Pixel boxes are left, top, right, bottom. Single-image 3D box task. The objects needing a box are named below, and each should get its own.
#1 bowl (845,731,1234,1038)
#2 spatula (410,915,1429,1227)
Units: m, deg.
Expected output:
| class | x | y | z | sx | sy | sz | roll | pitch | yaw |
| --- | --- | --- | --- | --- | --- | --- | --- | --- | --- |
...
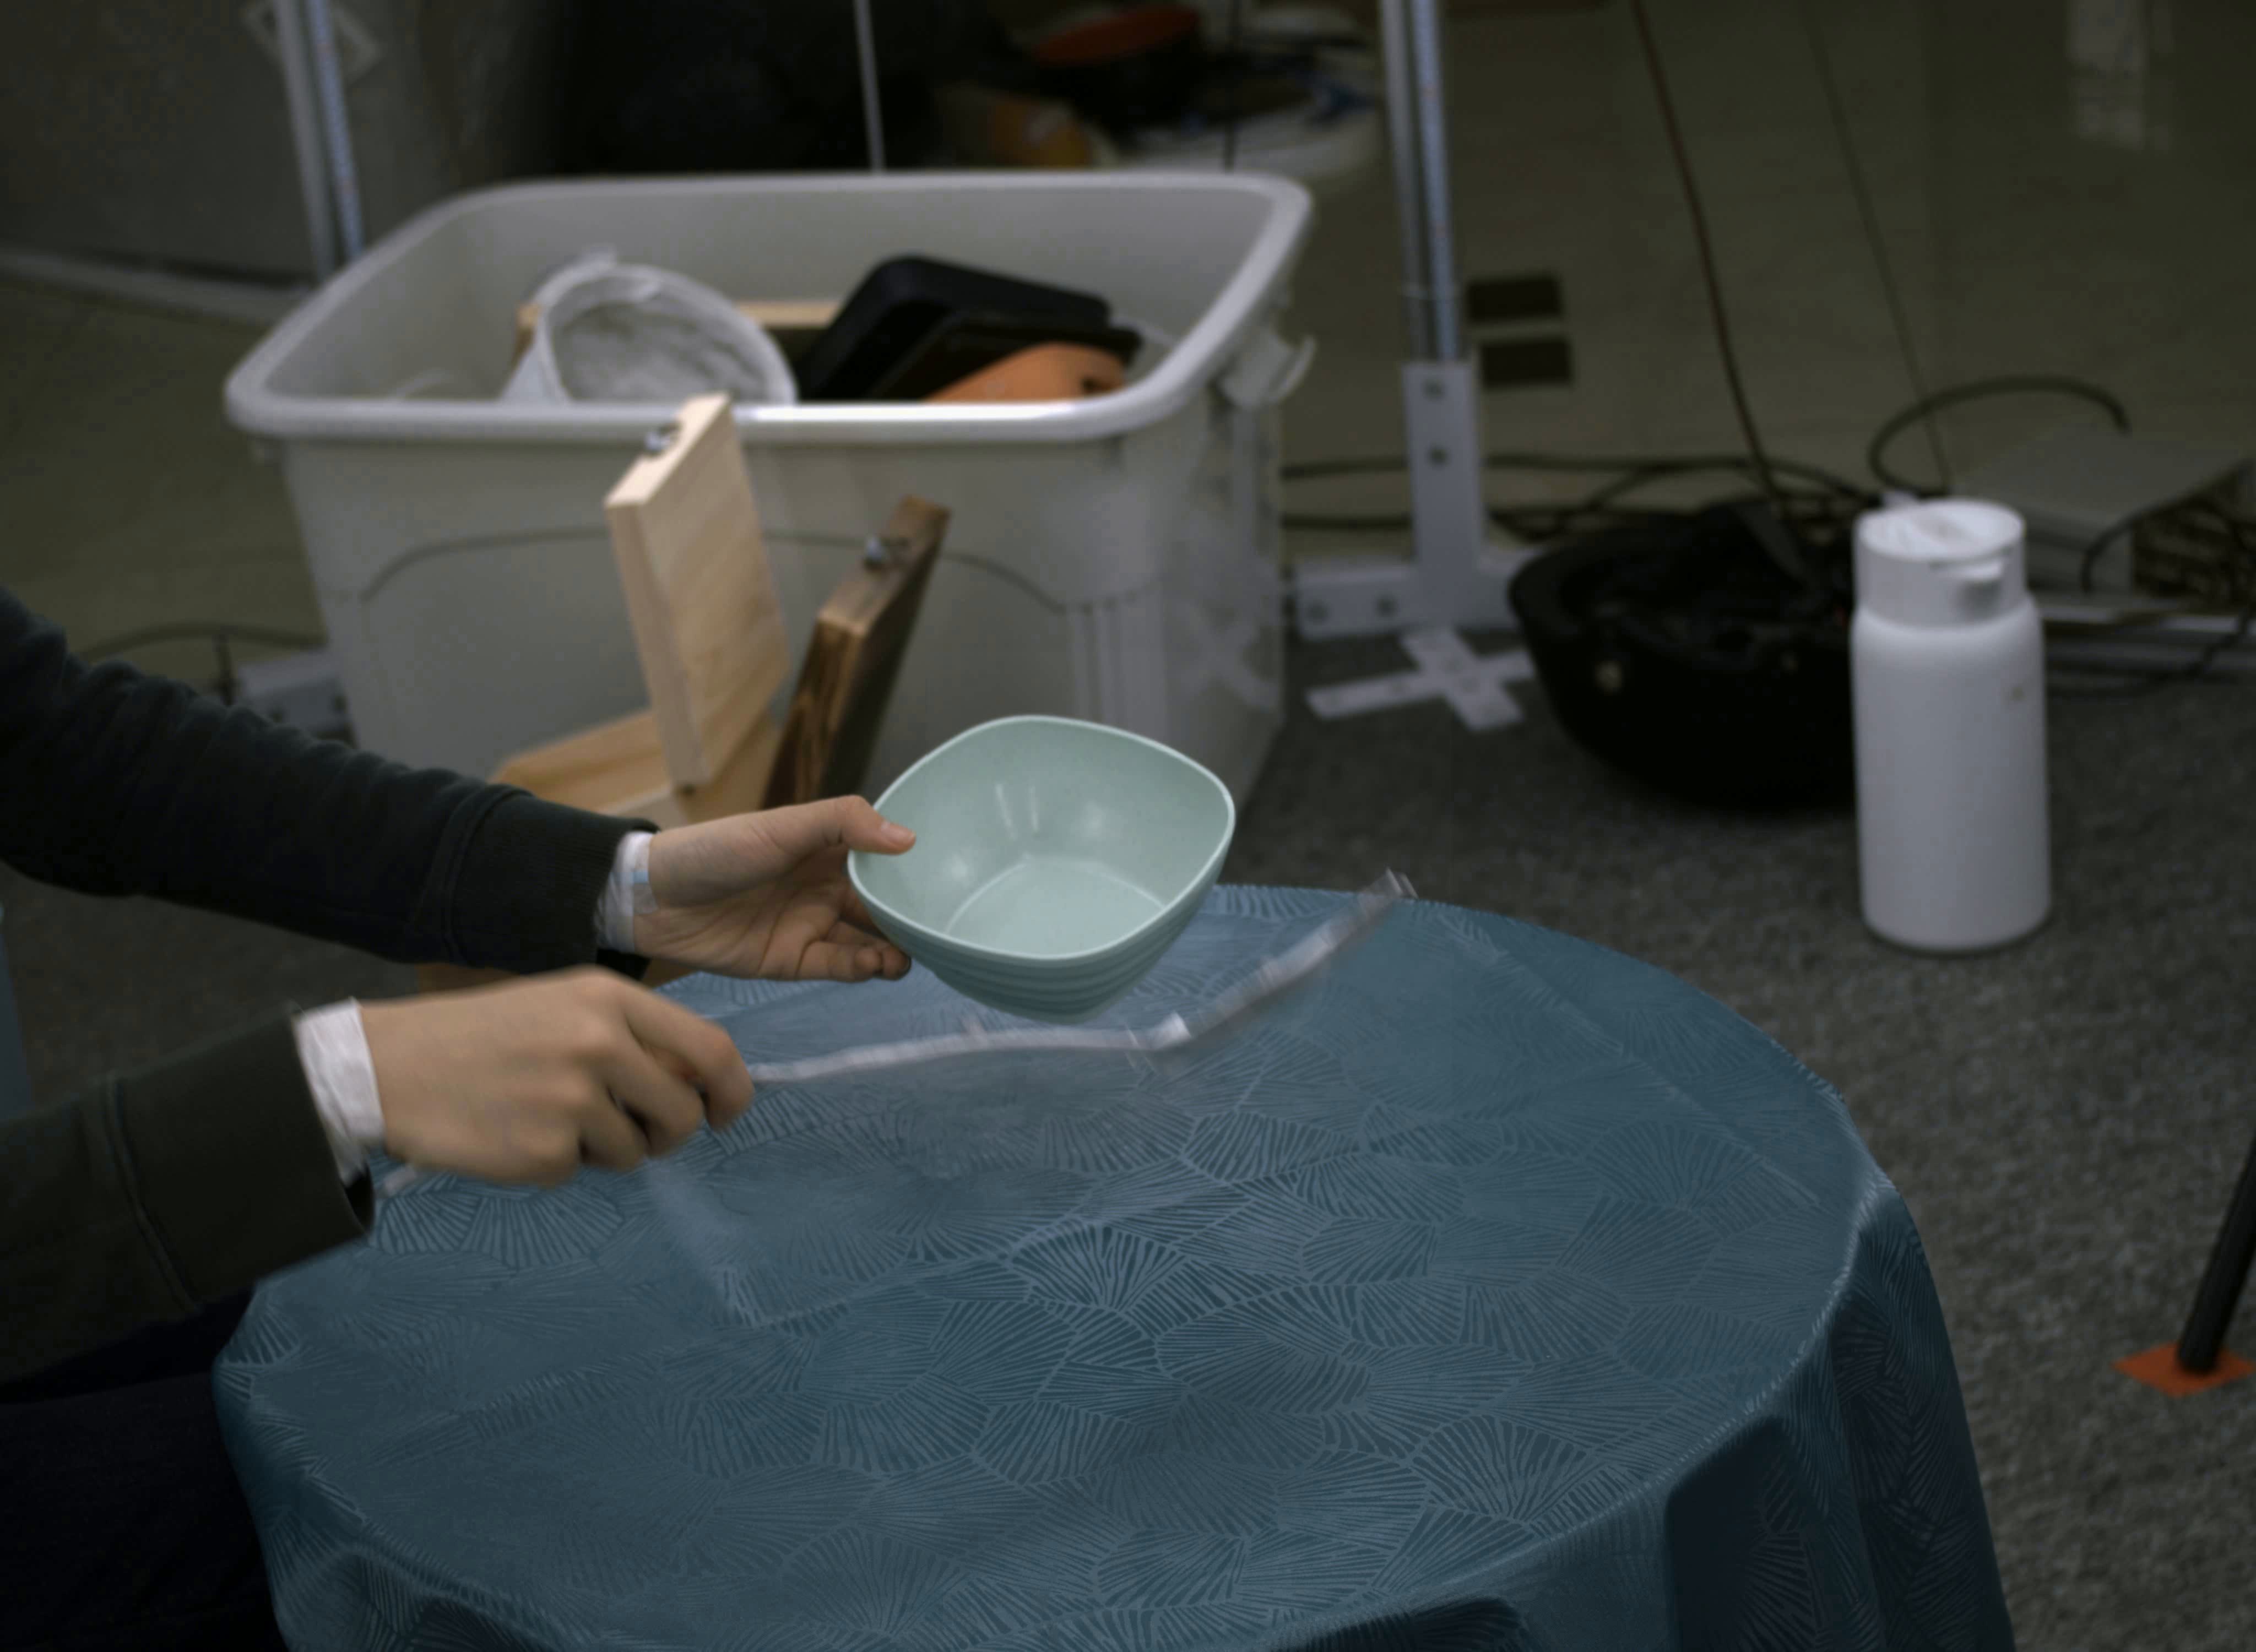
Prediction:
| class | x | y | z | sx | sy | sz | roll | pitch | yaw |
| --- | --- | --- | --- | --- | --- | --- | --- | --- | --- |
| bowl | -0.033 | 0.030 | 2.194 | 0.151 | 0.060 | 0.149 | -2 | 39 | 2 |
| spatula | -0.067 | 0.083 | 1.913 | 0.364 | 0.044 | 0.099 | -8 | -10 | -19 |
